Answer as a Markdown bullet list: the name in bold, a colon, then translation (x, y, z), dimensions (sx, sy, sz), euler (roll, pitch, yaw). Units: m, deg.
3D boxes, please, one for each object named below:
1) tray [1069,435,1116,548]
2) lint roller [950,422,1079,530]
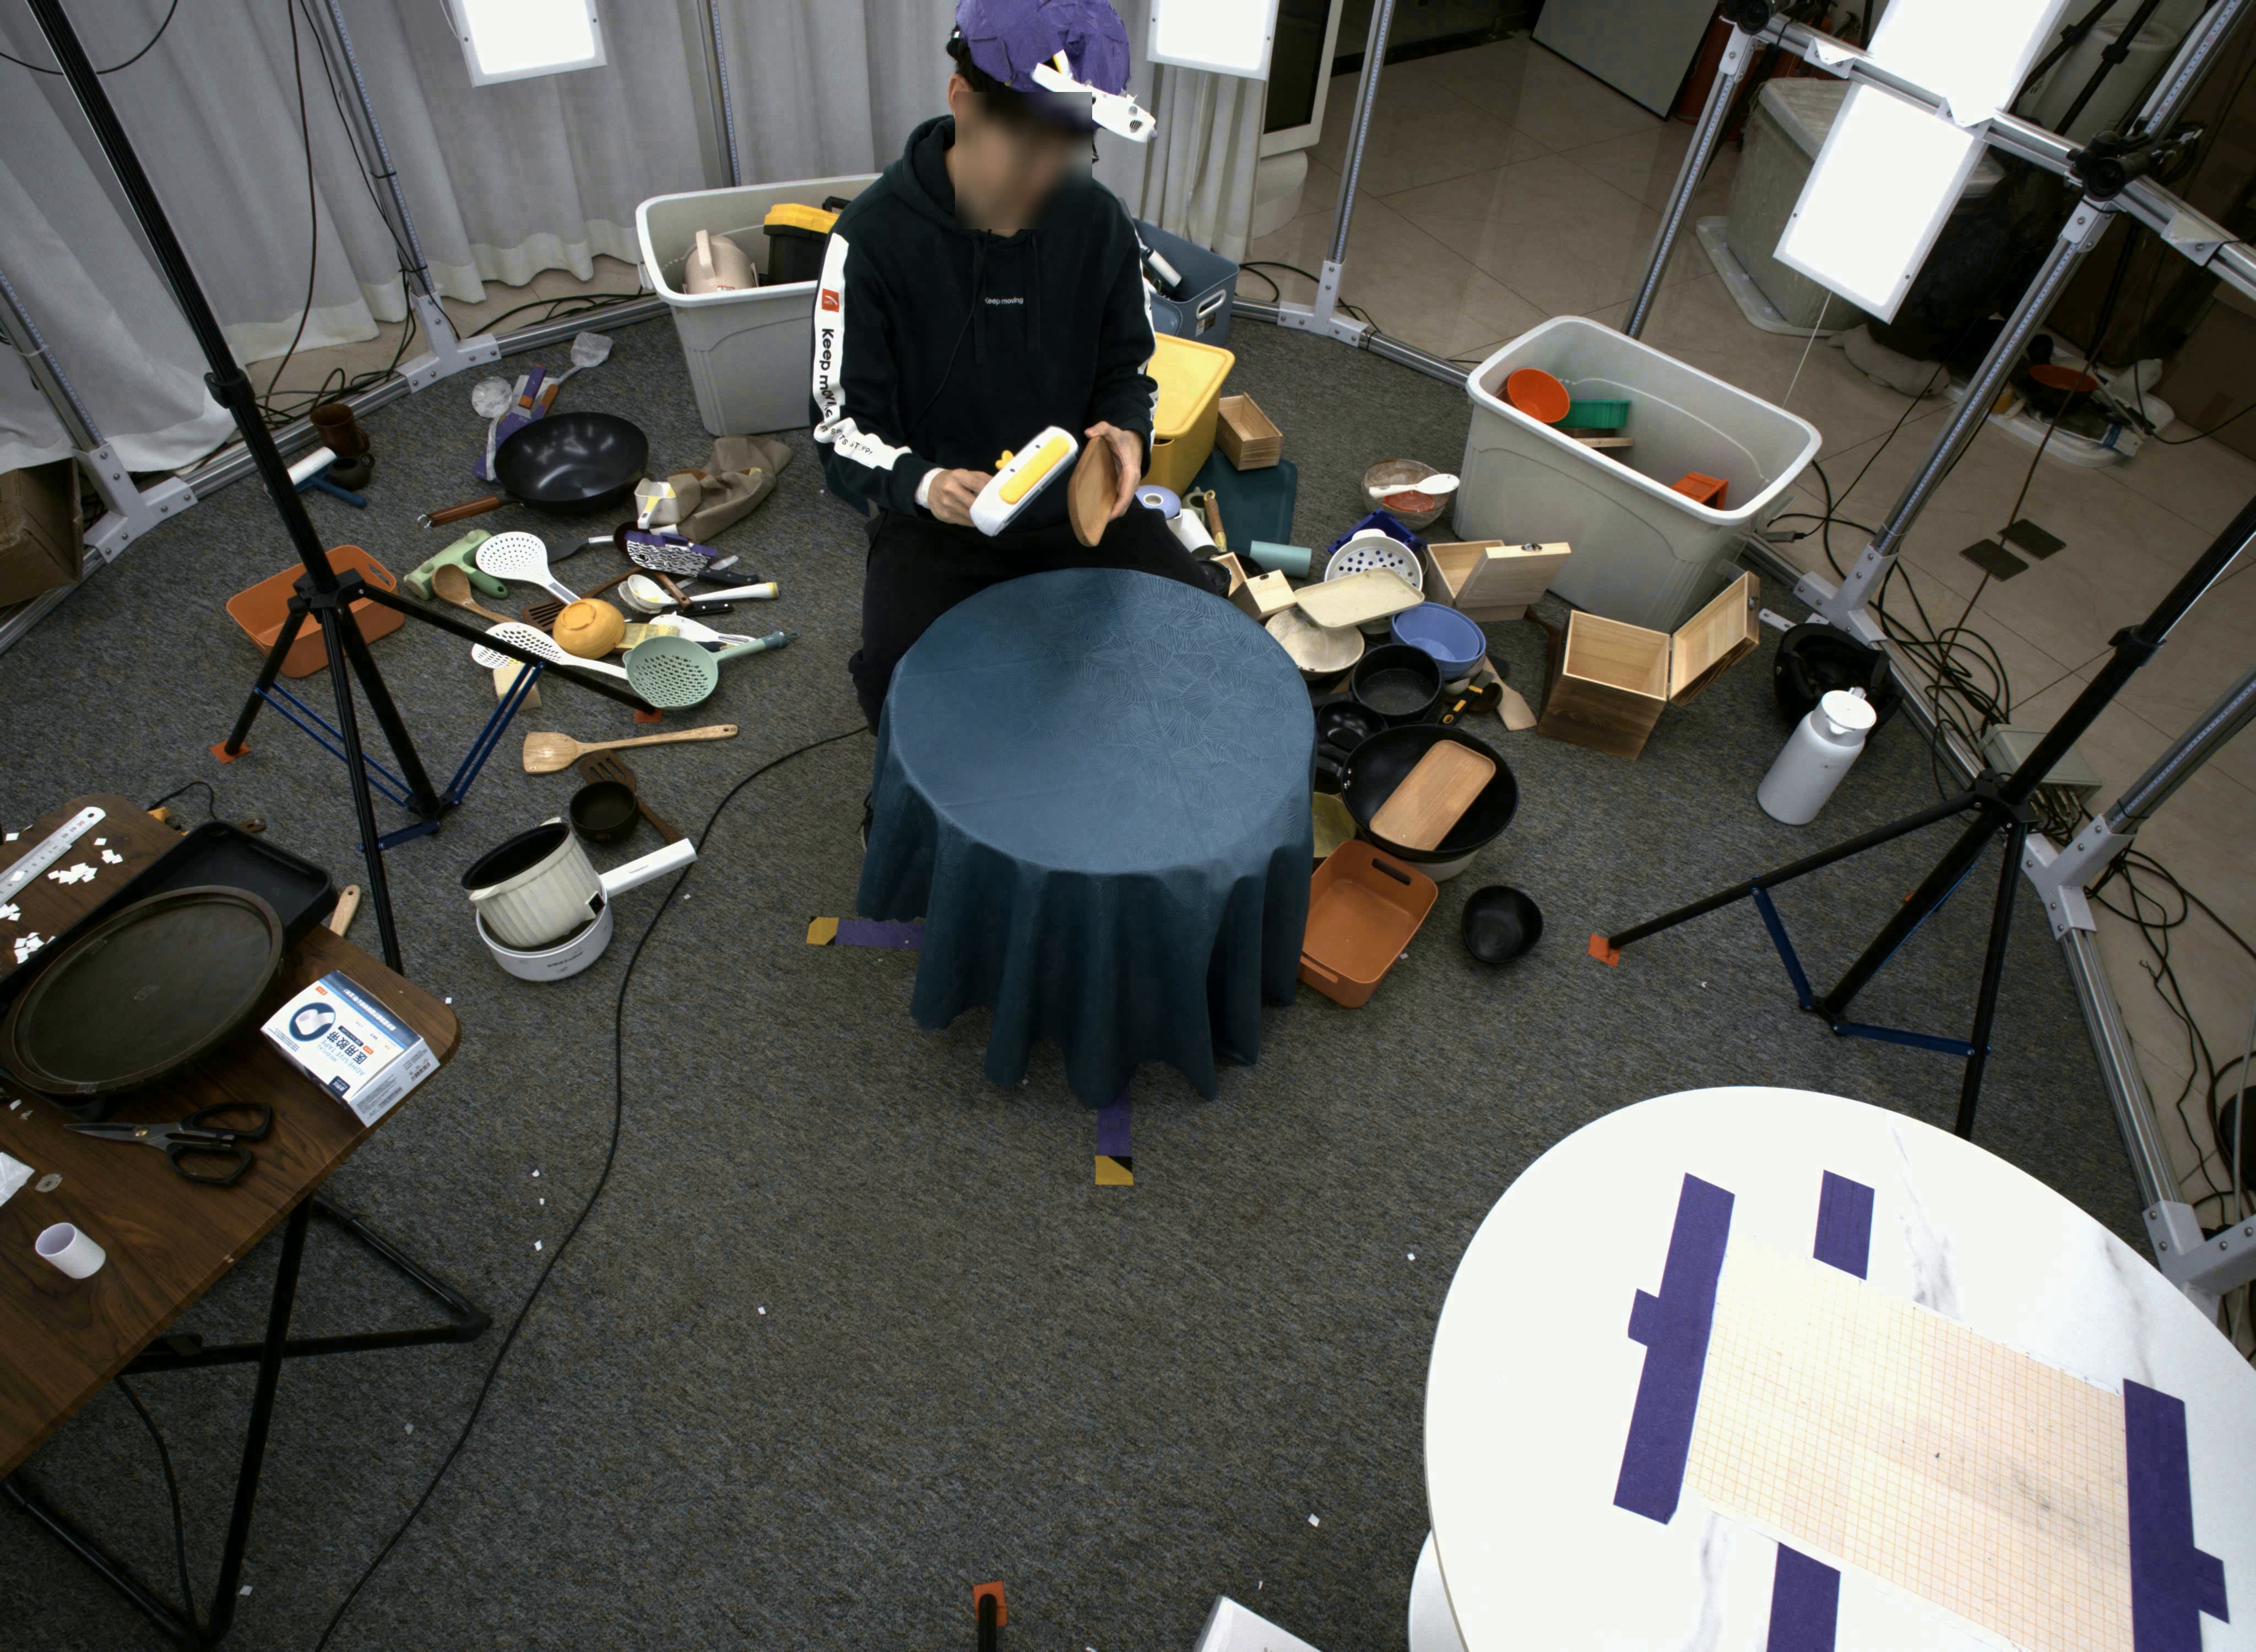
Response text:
- **tray**: translation (-0.049, -0.468, 1.801), dimensions (0.020, 0.099, 0.236), euler (-7, 35, 17)
- **lint roller**: translation (-0.170, -0.446, 1.725), dimensions (0.073, 0.191, 0.196), euler (44, 54, -16)
